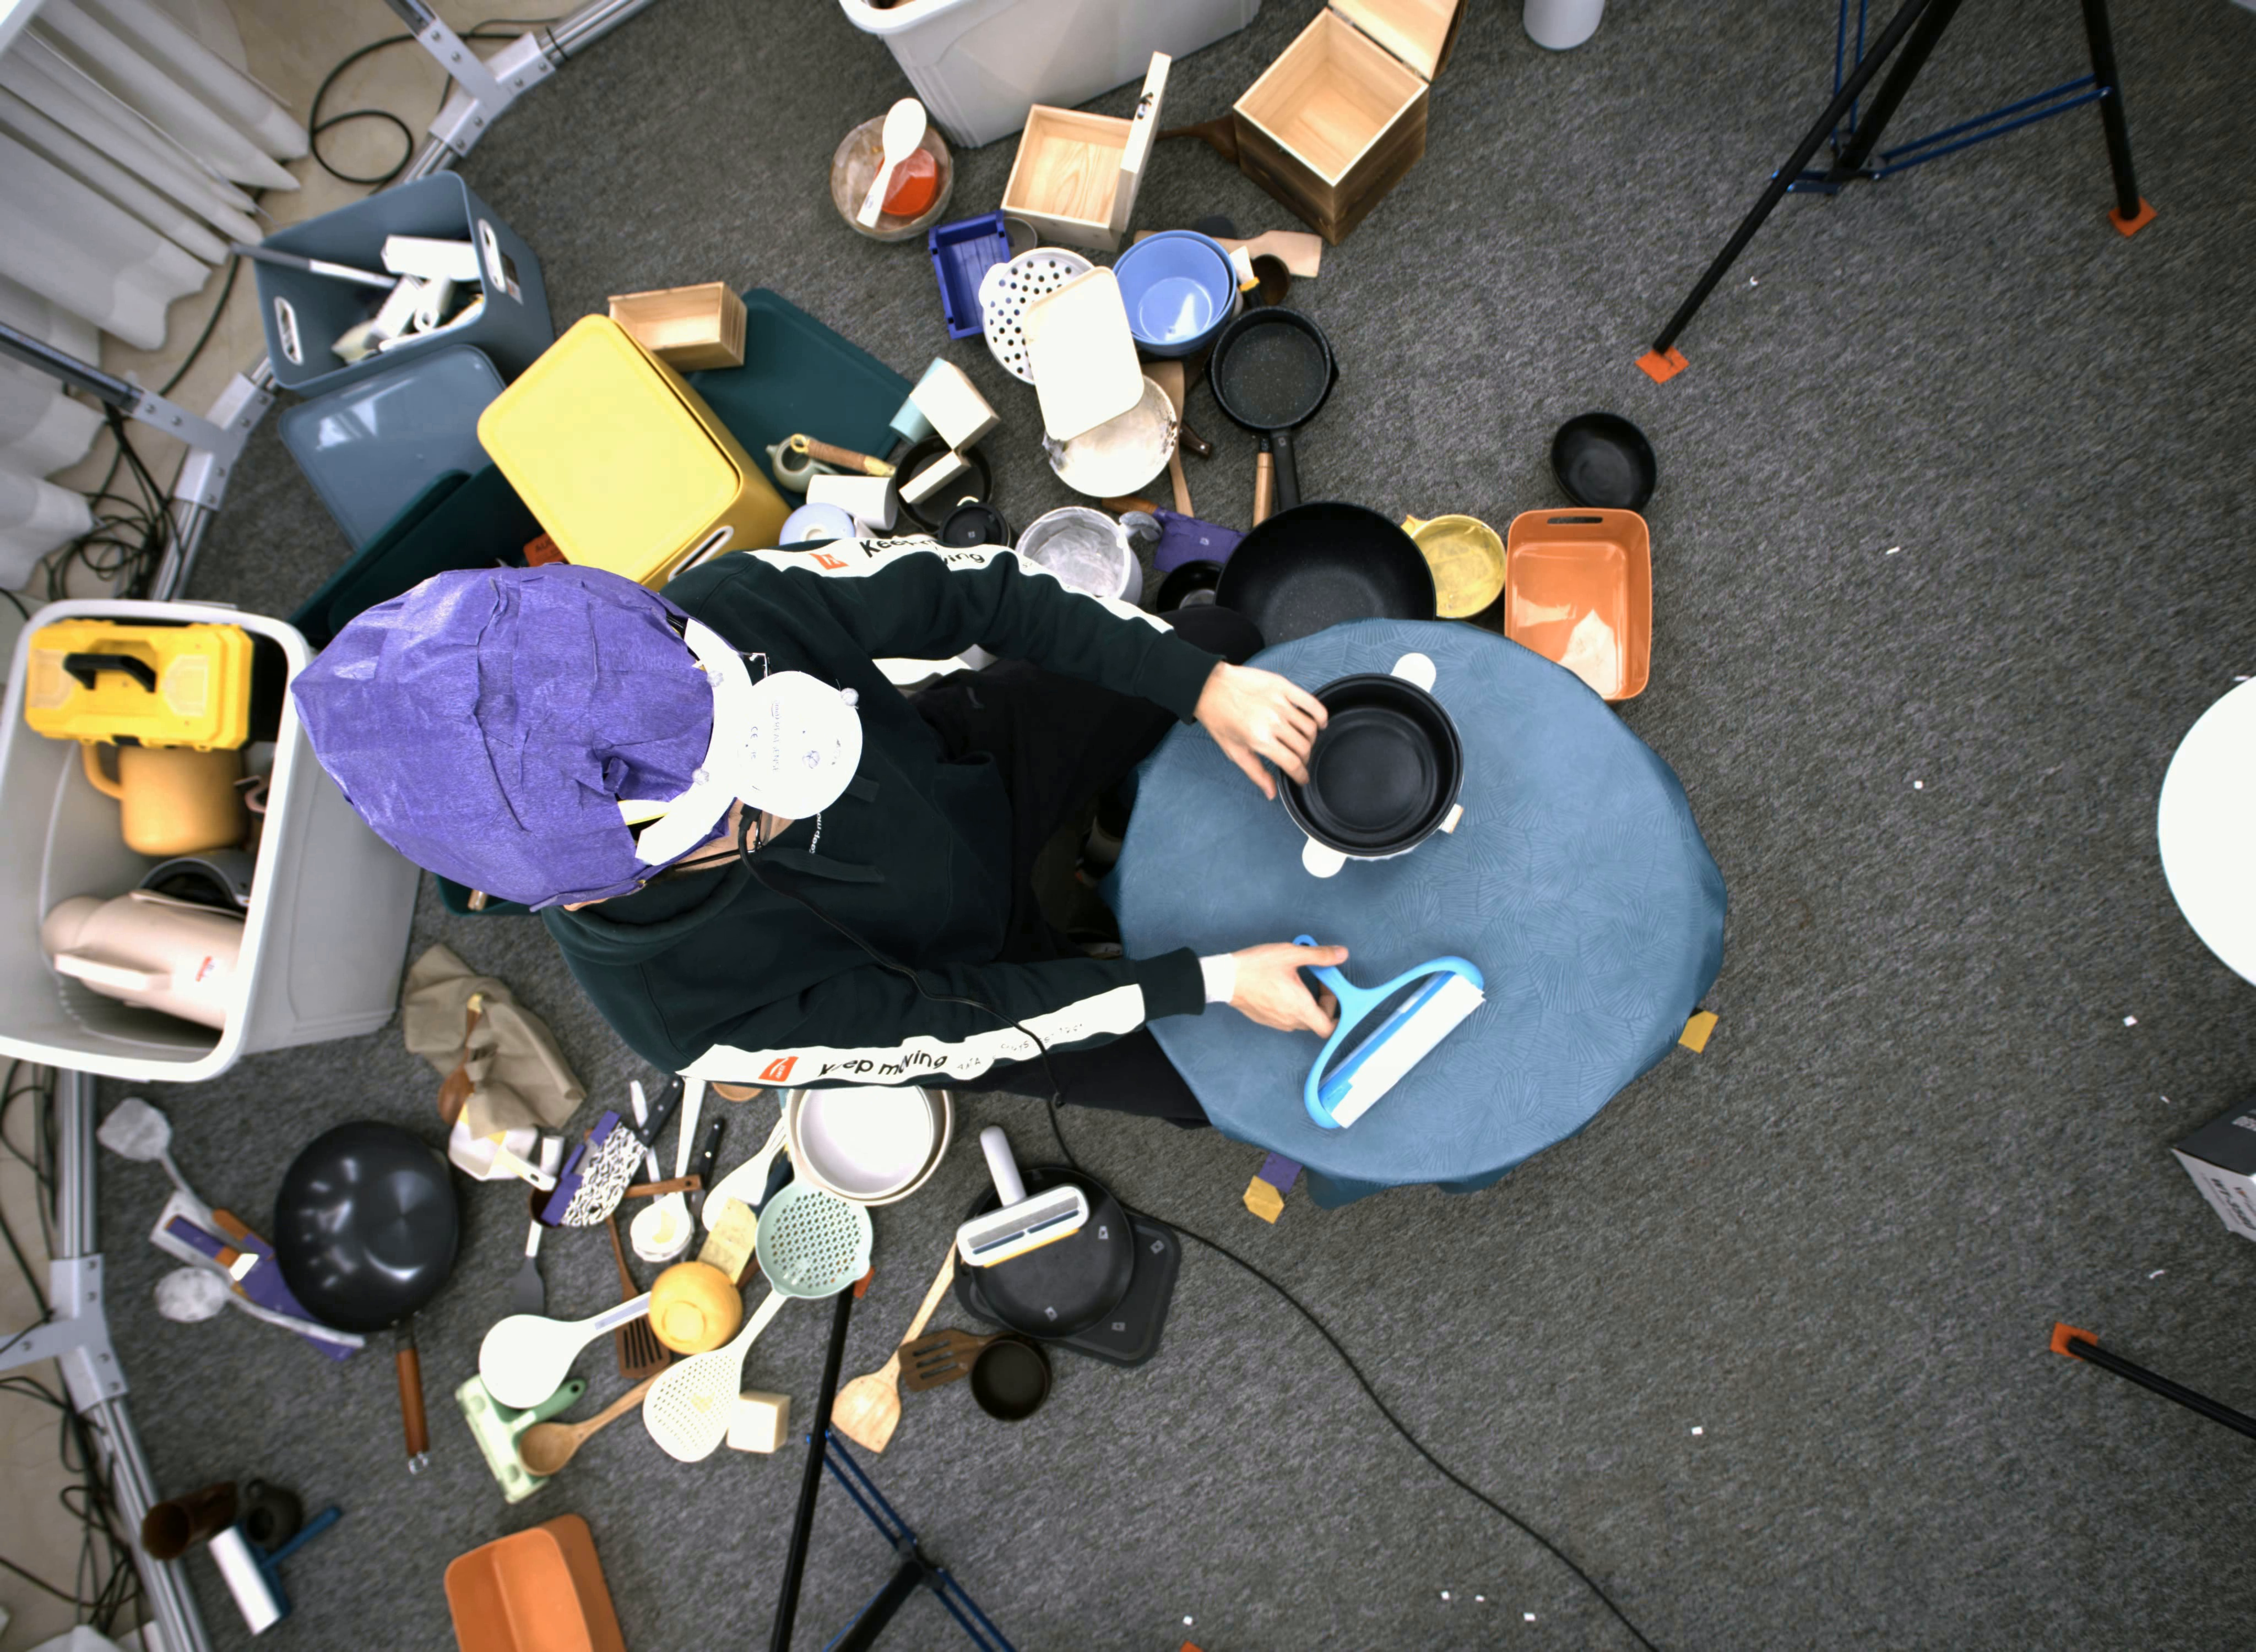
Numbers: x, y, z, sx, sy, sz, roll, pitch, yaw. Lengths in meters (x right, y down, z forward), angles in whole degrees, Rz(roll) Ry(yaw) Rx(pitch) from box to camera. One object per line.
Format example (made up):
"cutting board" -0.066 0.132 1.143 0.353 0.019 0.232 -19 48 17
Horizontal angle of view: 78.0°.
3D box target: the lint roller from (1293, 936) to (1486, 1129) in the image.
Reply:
"lint roller" 0.235 0.183 1.427 0.179 0.068 0.230 44 97 8

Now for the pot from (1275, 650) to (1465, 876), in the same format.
"pot" 0.250 -0.055 1.395 0.190 0.142 0.241 26 92 14
